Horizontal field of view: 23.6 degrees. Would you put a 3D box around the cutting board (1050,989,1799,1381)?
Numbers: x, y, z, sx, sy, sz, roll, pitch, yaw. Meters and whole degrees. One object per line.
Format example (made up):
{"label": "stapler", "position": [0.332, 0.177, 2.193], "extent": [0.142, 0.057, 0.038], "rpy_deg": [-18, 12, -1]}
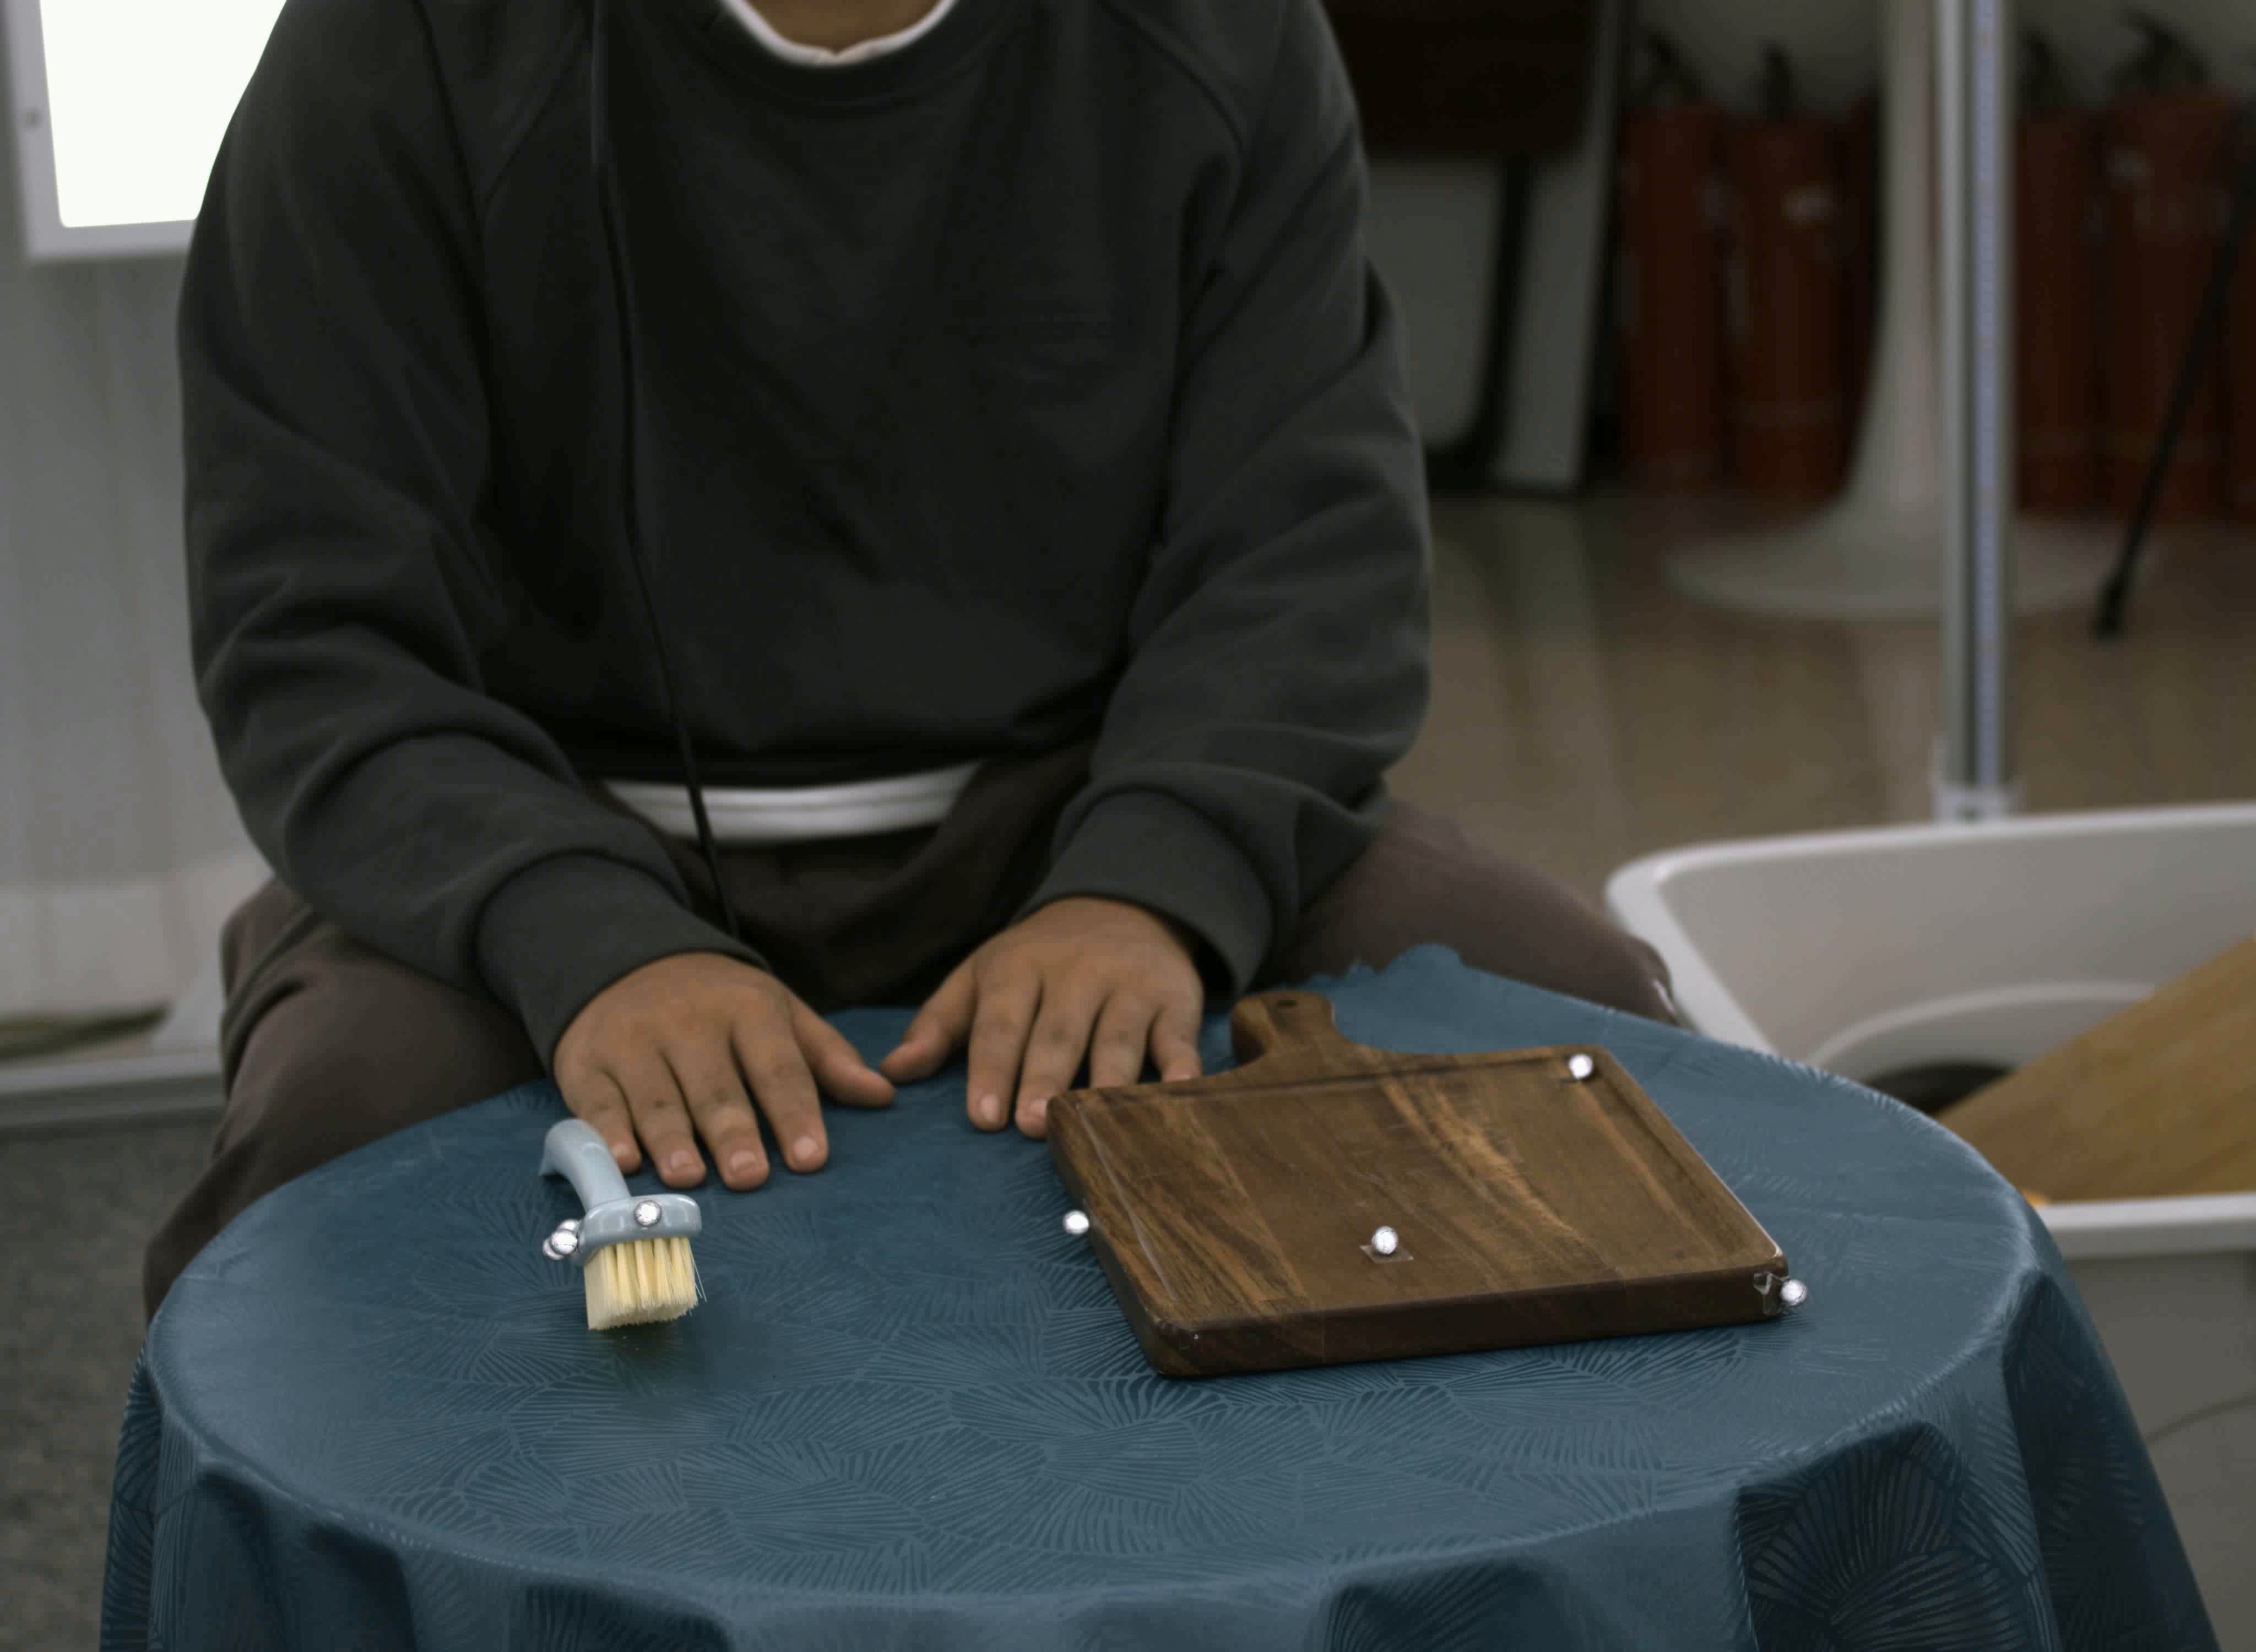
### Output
{"label": "cutting board", "position": [0.081, 0.108, 1.764], "extent": [0.198, 0.023, 0.354], "rpy_deg": [-5, 14, -7]}

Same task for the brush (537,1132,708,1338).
{"label": "brush", "position": [-0.166, 0.130, 1.721], "extent": [0.037, 0.050, 0.230], "rpy_deg": [-5, 5, -13]}
